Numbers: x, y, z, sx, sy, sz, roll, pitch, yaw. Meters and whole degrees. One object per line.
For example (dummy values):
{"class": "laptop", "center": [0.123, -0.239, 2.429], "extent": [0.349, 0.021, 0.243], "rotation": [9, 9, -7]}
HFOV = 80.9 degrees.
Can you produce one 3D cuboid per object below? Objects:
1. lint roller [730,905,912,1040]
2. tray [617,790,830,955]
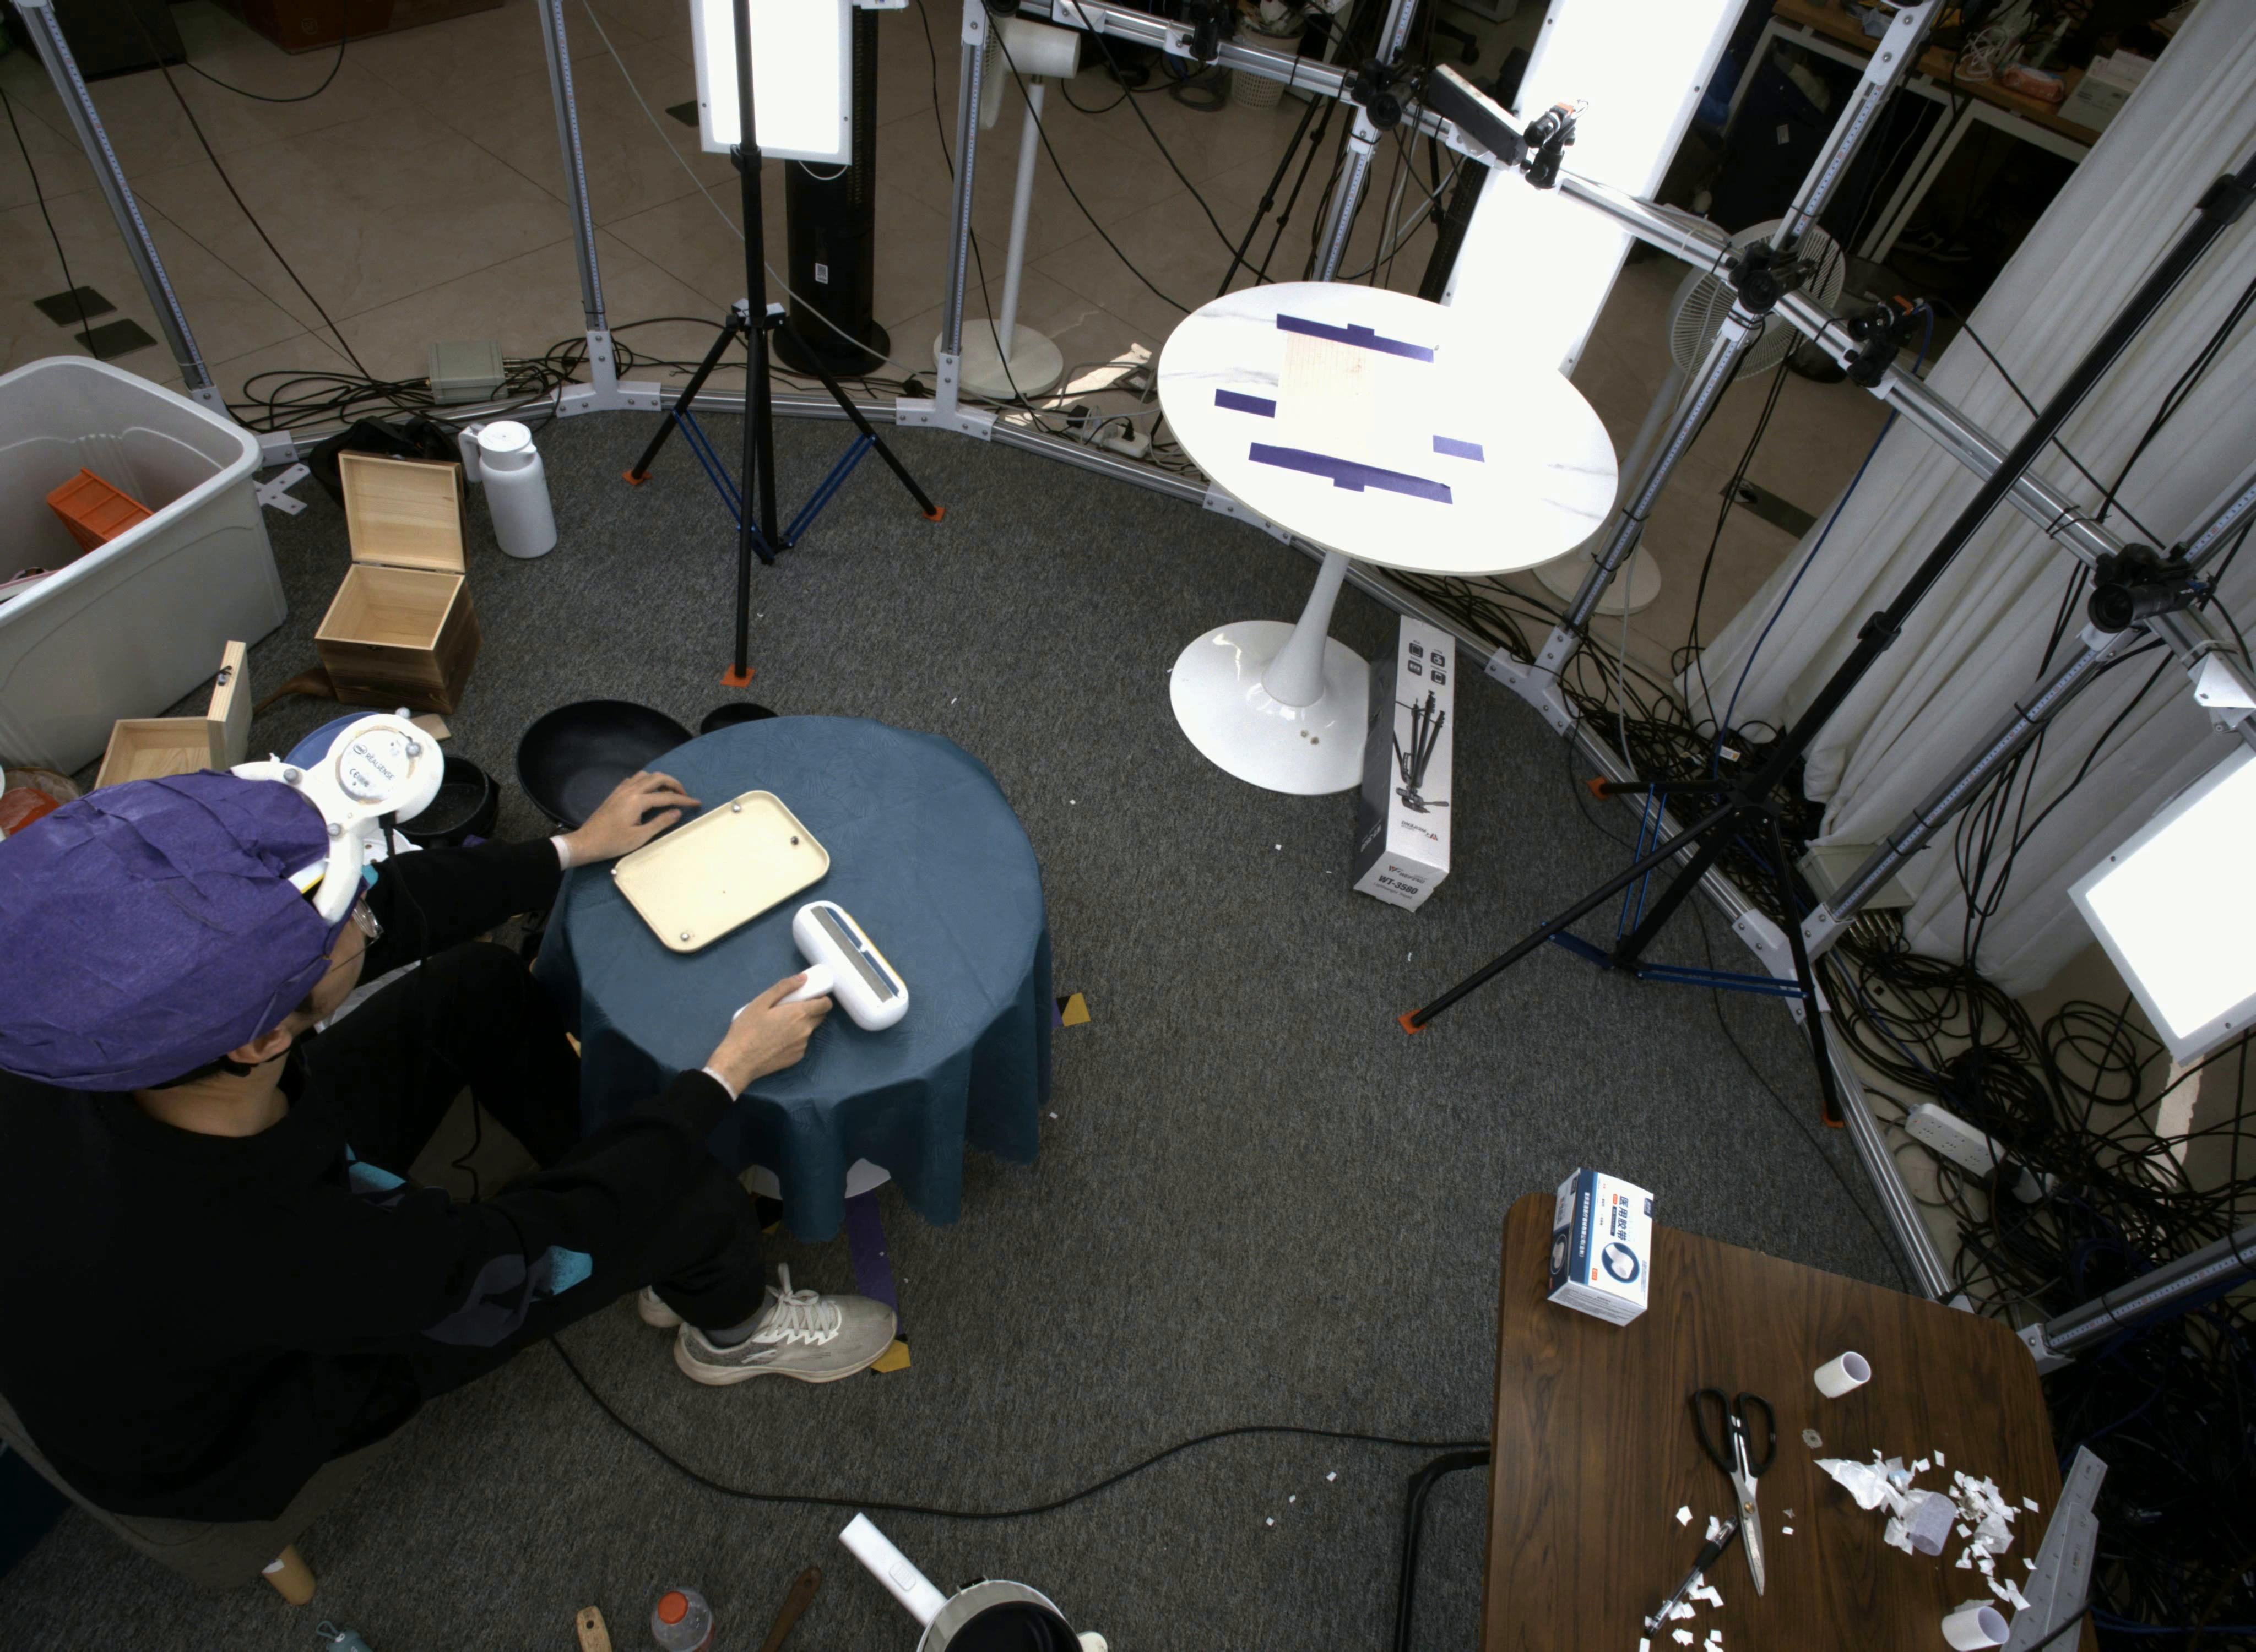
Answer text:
{"class": "lint roller", "center": [-0.381, 0.192, 1.544], "extent": [0.194, 0.075, 0.188], "rotation": [-20, 60, -36]}
{"class": "tray", "center": [-0.517, 0.056, 1.653], "extent": [0.240, 0.018, 0.167], "rotation": [-33, 69, -32]}
